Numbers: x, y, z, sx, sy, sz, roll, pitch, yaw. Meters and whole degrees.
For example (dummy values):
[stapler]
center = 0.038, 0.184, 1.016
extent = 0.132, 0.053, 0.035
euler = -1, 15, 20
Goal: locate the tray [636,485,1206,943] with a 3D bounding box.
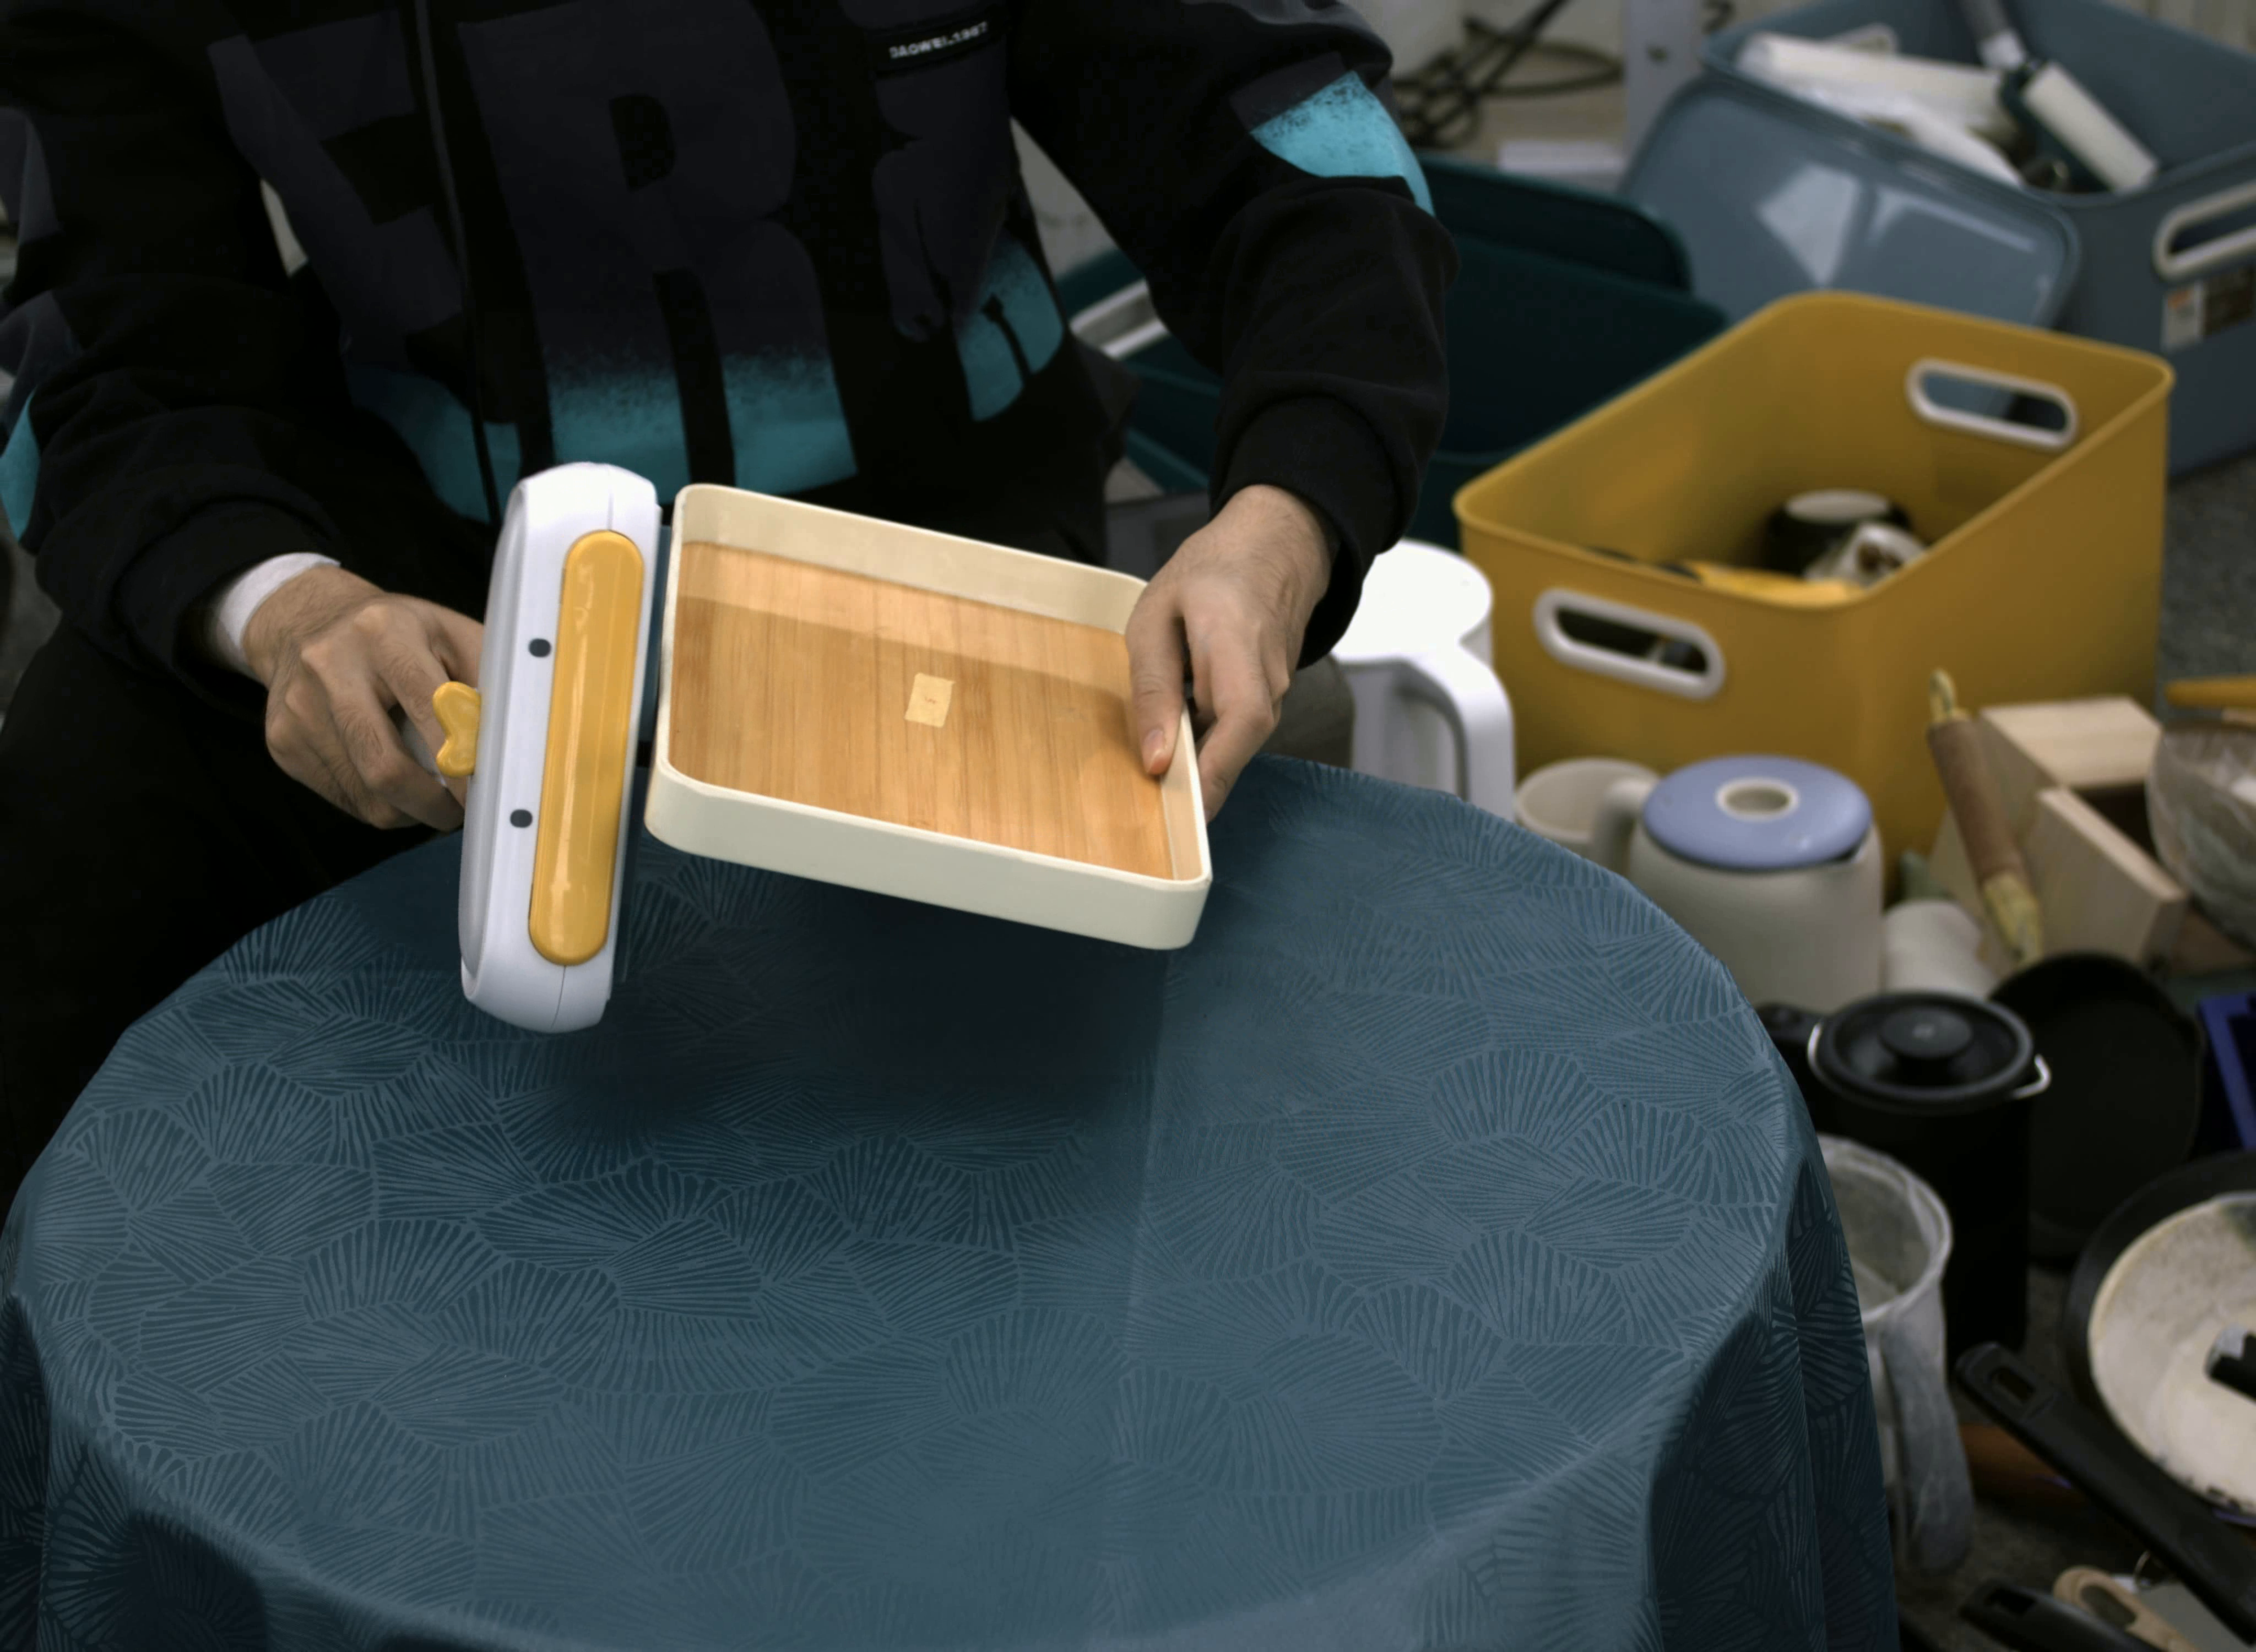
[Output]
[tray]
center = -0.073, -0.043, 1.982
extent = 0.191, 0.027, 0.304
euler = 12, 21, -7

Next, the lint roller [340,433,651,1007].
[lint roller]
center = -0.221, -0.033, 1.945
extent = 0.074, 0.194, 0.191
euler = 1, -4, -23
